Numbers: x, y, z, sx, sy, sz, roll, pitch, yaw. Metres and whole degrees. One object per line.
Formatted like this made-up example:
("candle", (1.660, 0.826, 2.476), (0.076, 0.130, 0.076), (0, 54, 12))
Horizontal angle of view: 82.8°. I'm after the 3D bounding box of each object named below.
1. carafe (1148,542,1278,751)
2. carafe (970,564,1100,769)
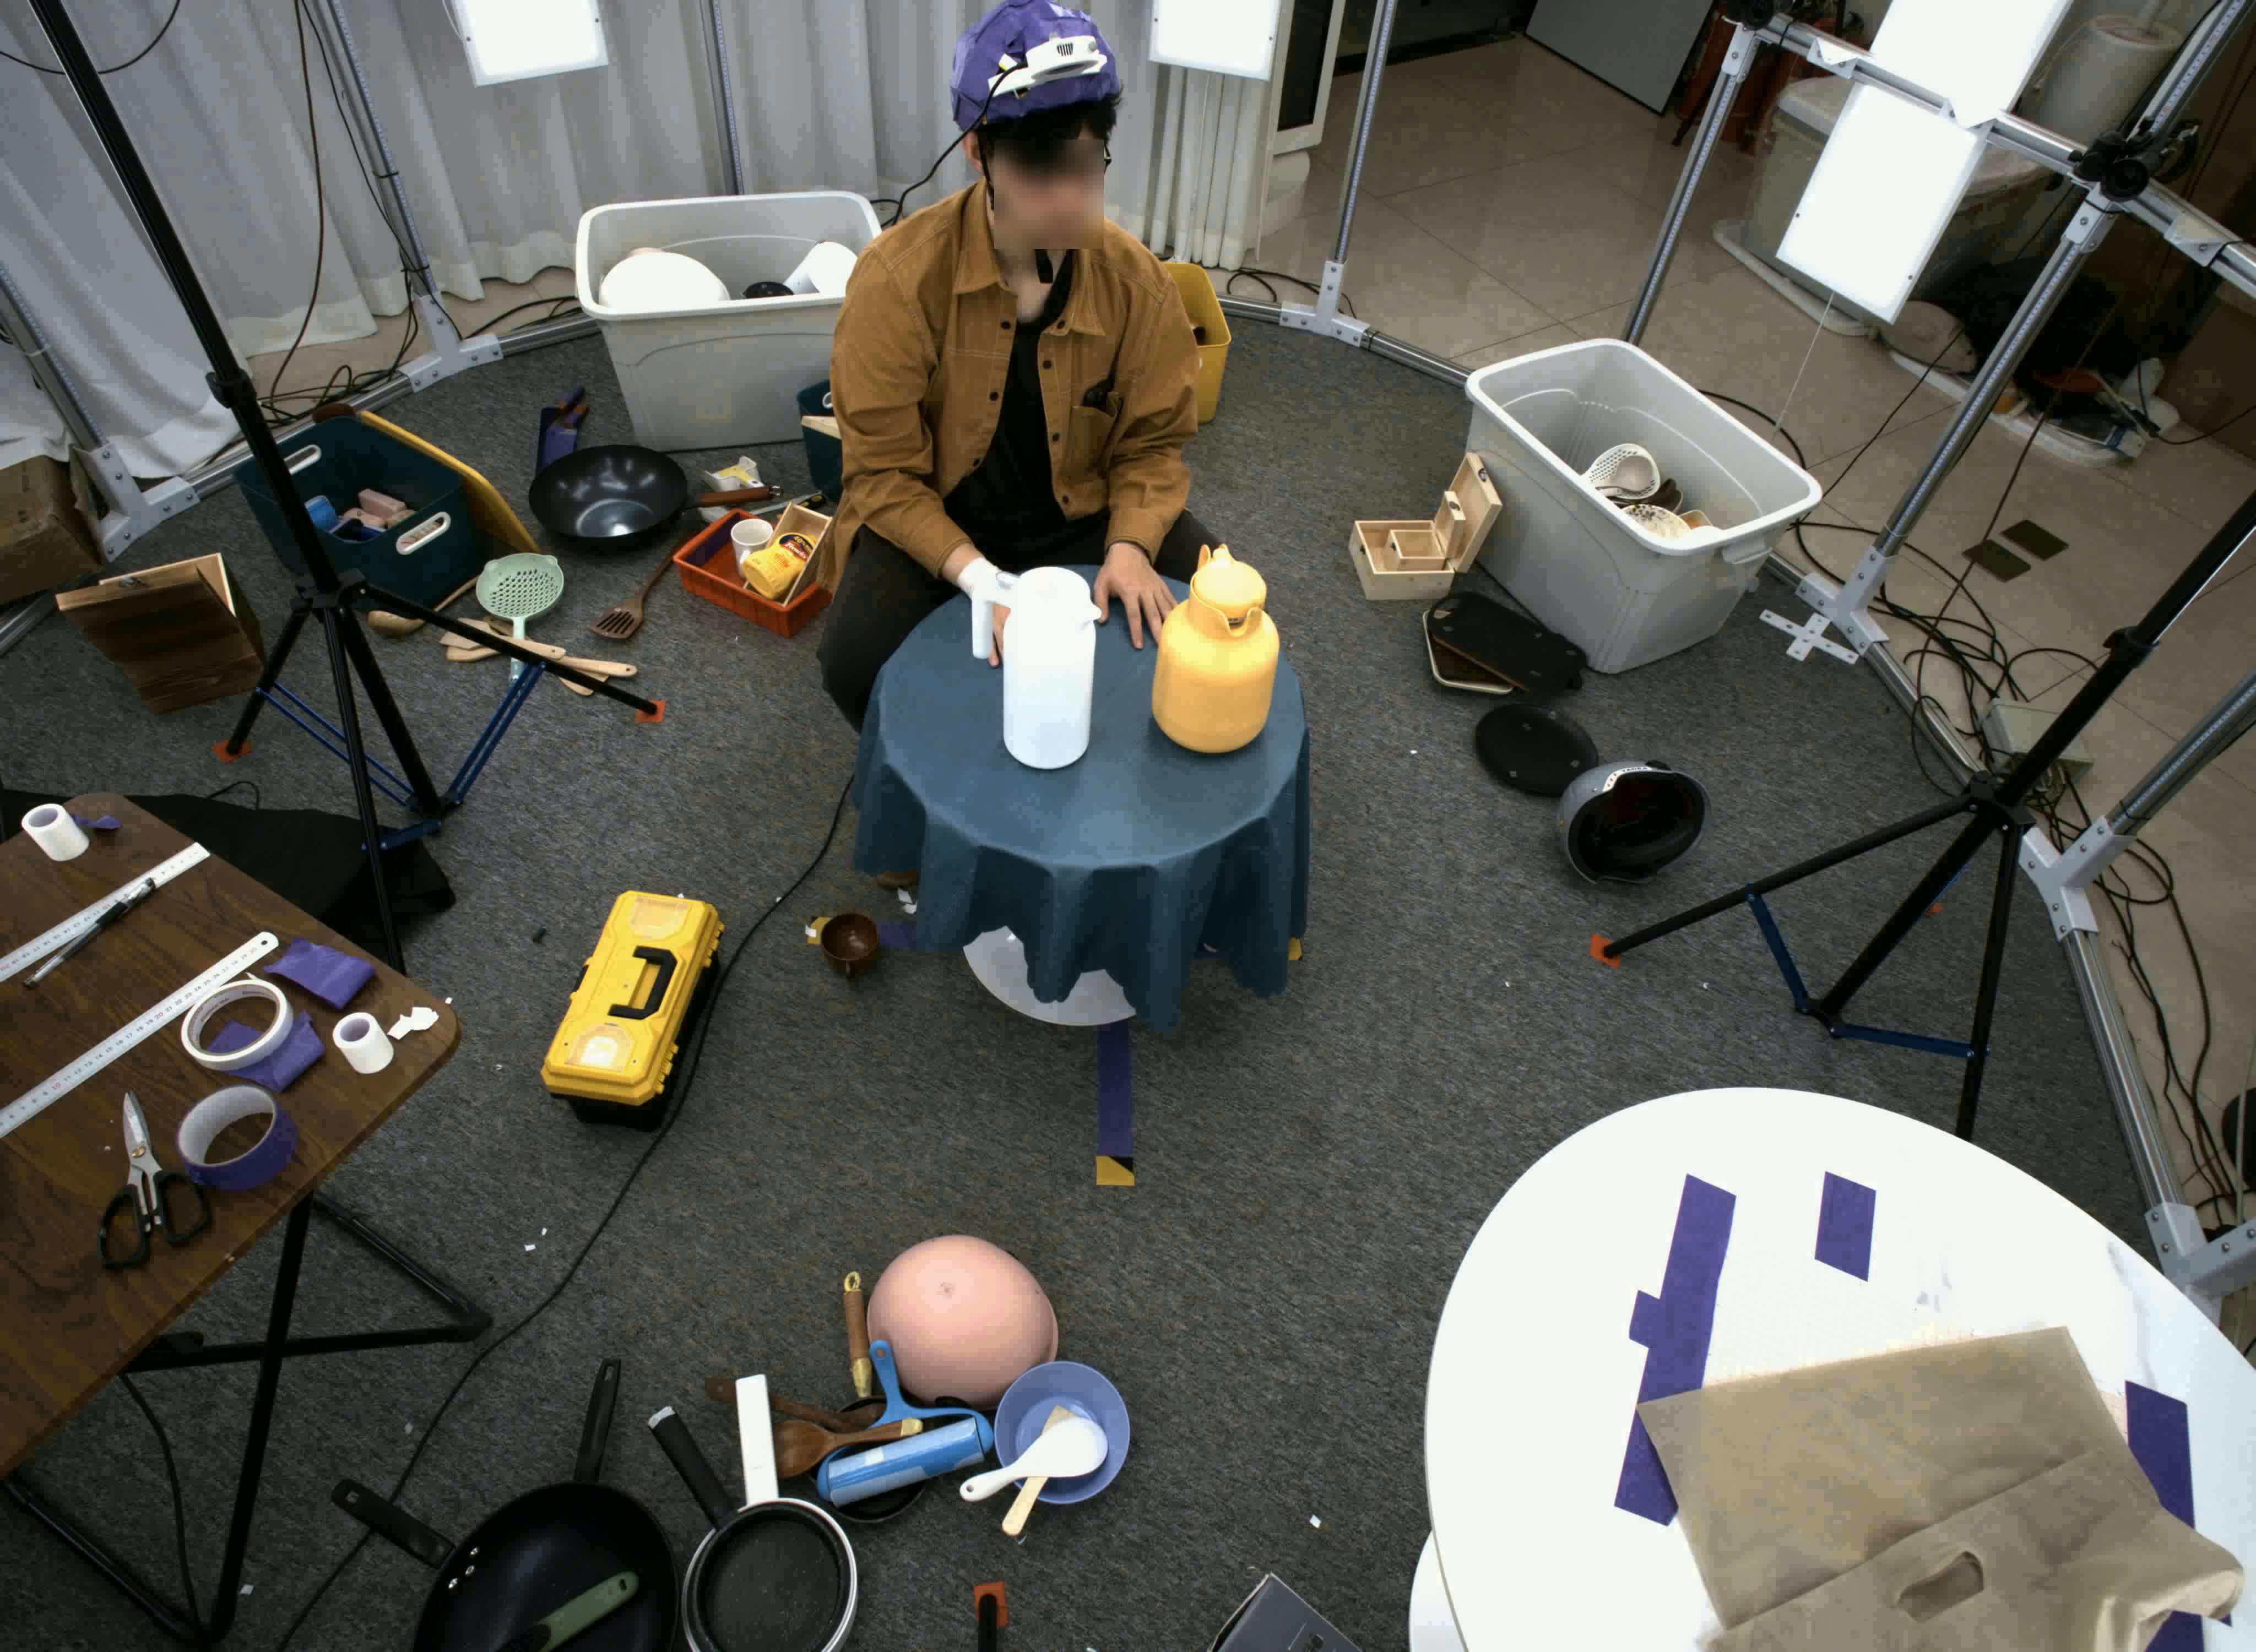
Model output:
("carafe", (0.117, -0.247, 1.721), (0.163, 0.254, 0.207), (0, 51, -7))
("carafe", (-0.122, -0.206, 1.668), (0.174, 0.262, 0.126), (20, 53, 13))
